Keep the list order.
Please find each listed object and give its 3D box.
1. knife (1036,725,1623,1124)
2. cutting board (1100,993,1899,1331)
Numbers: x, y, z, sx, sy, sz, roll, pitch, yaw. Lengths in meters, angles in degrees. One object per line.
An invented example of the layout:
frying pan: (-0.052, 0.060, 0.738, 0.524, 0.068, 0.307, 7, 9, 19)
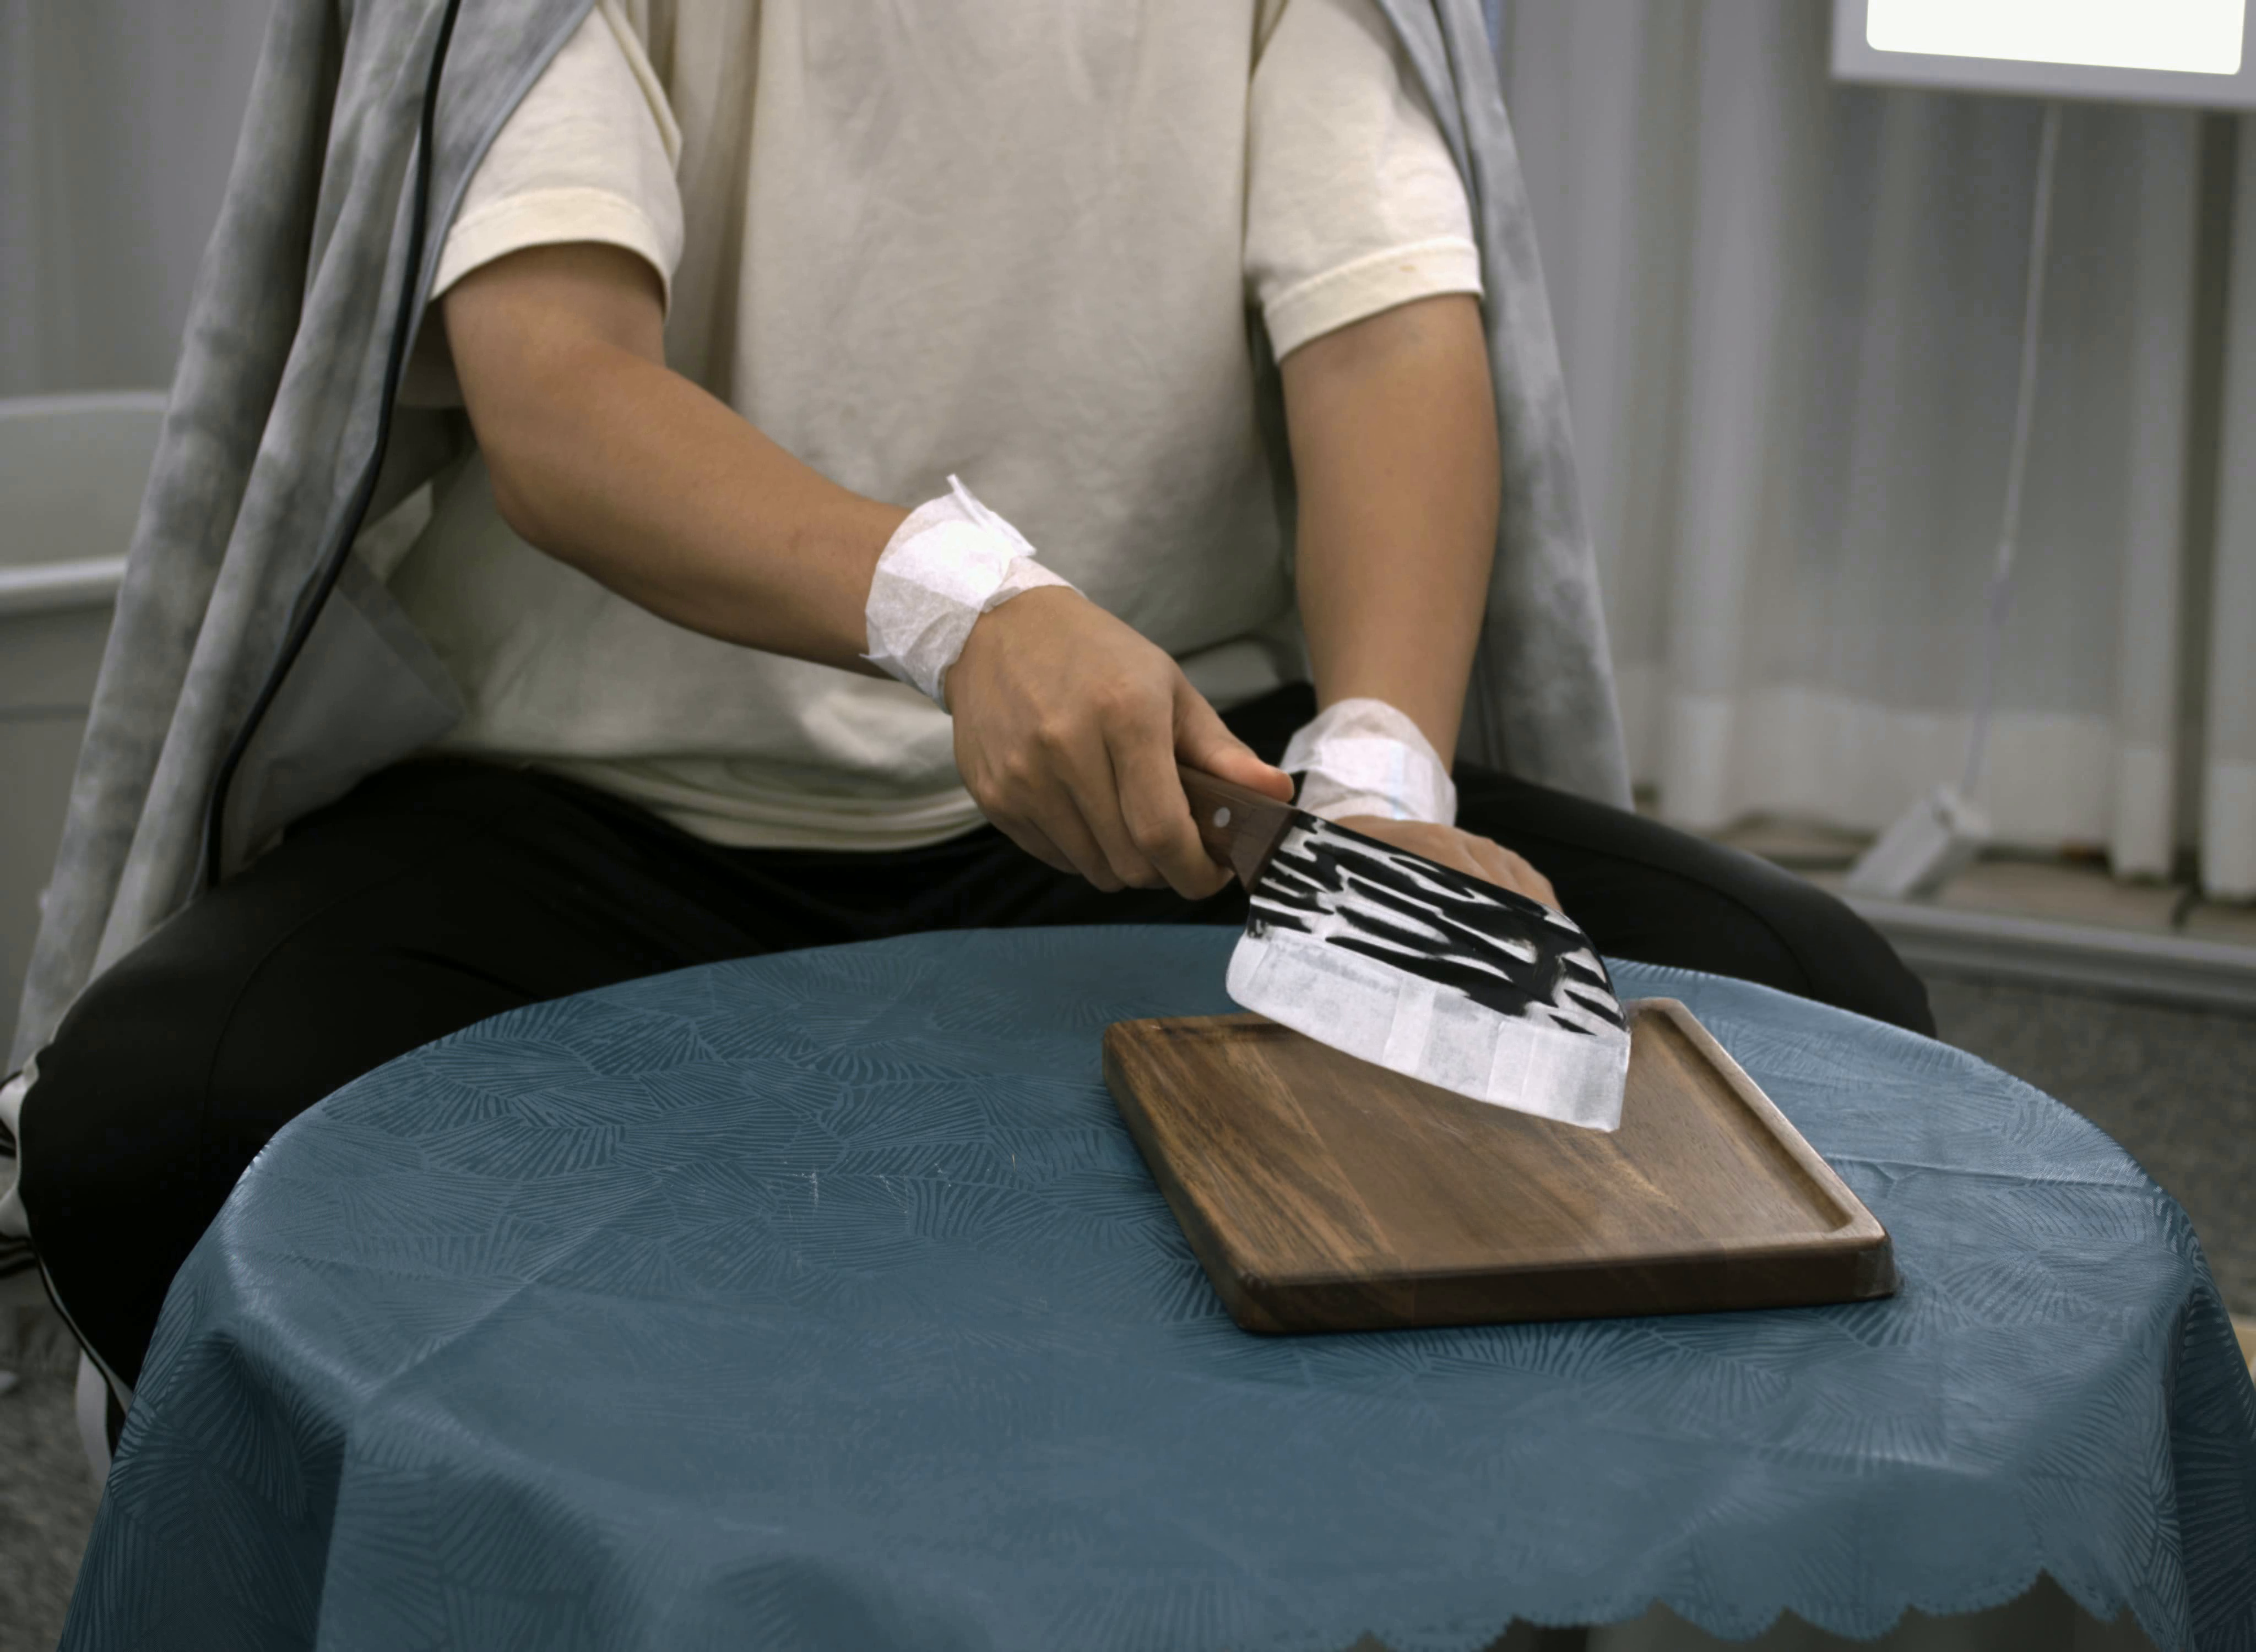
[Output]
knife: (0.060, 0.030, 1.709, 0.295, 0.068, 0.024, 23, -1, 45)
cutting board: (0.100, 0.087, 1.682, 0.201, 0.023, 0.349, -2, 15, -10)
